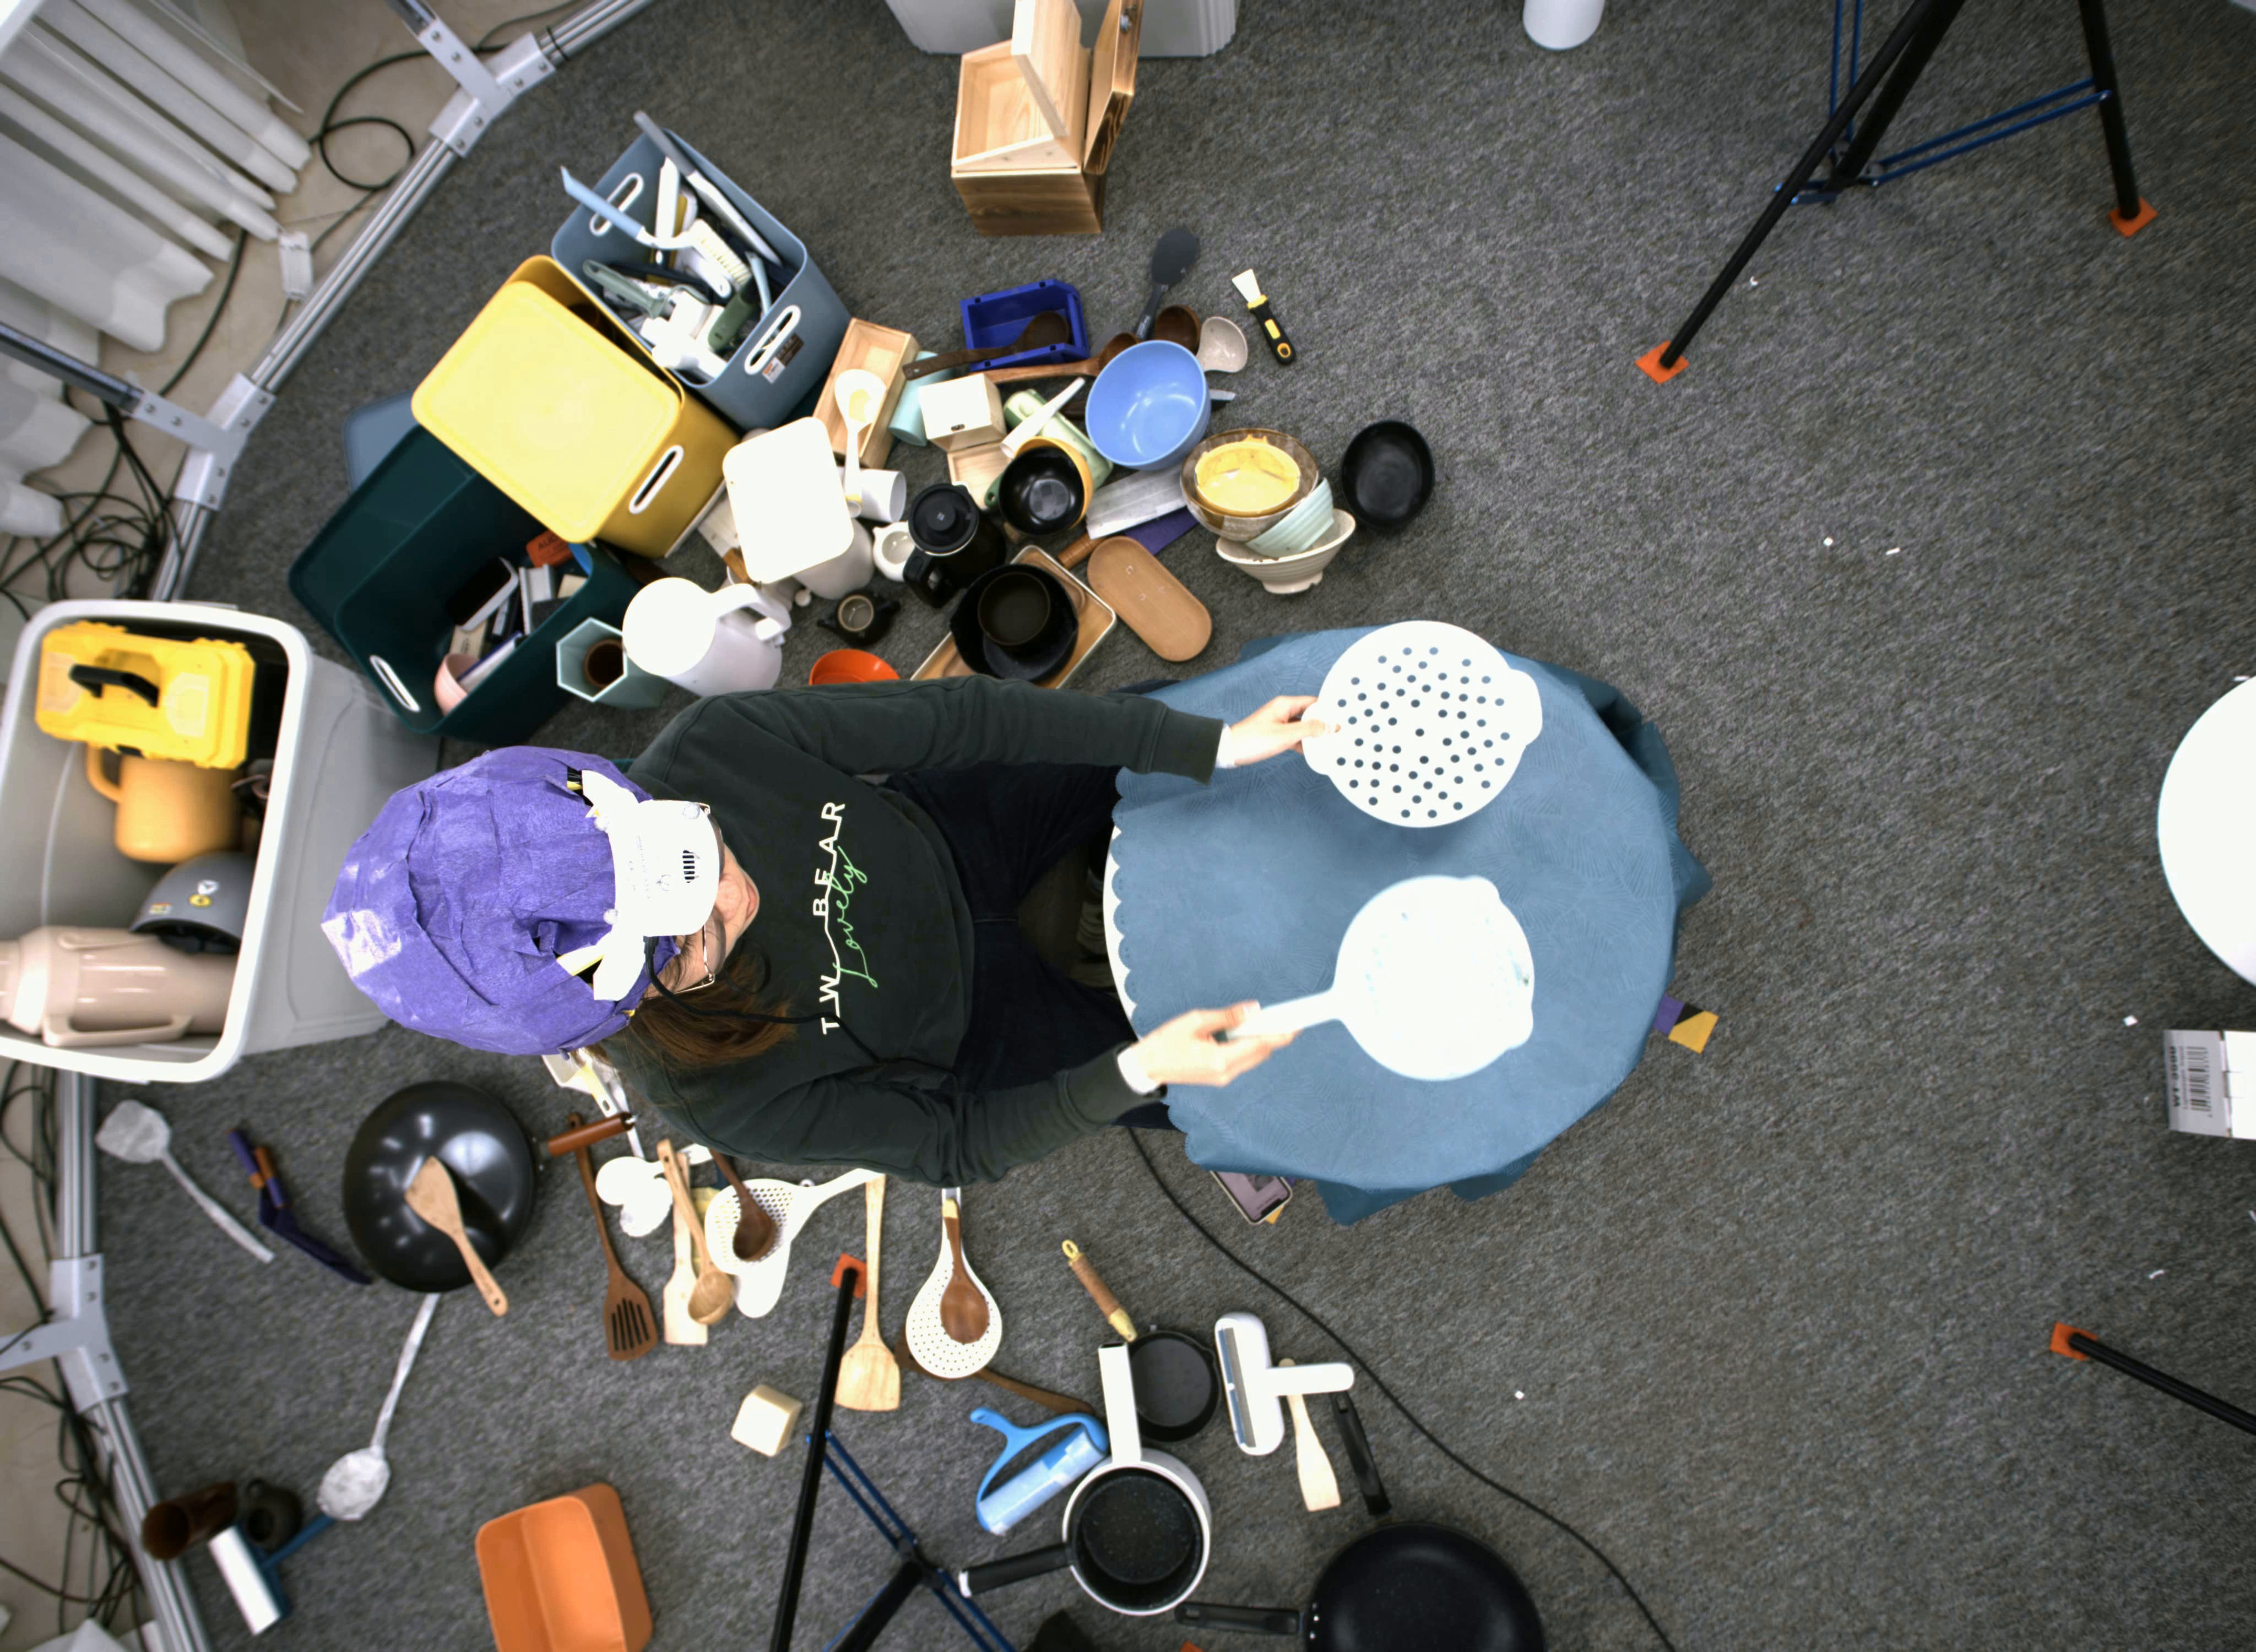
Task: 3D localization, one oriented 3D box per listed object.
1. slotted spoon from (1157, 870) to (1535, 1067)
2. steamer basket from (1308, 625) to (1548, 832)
[{"bbox_3d":[0.184,0.153,1.239,0.362,0.076,0.167,-17,74,16],"label":"slotted spoon"},{"bbox_3d":[0.296,-0.096,1.361,0.232,0.069,0.200,-10,84,12],"label":"steamer basket"}]
